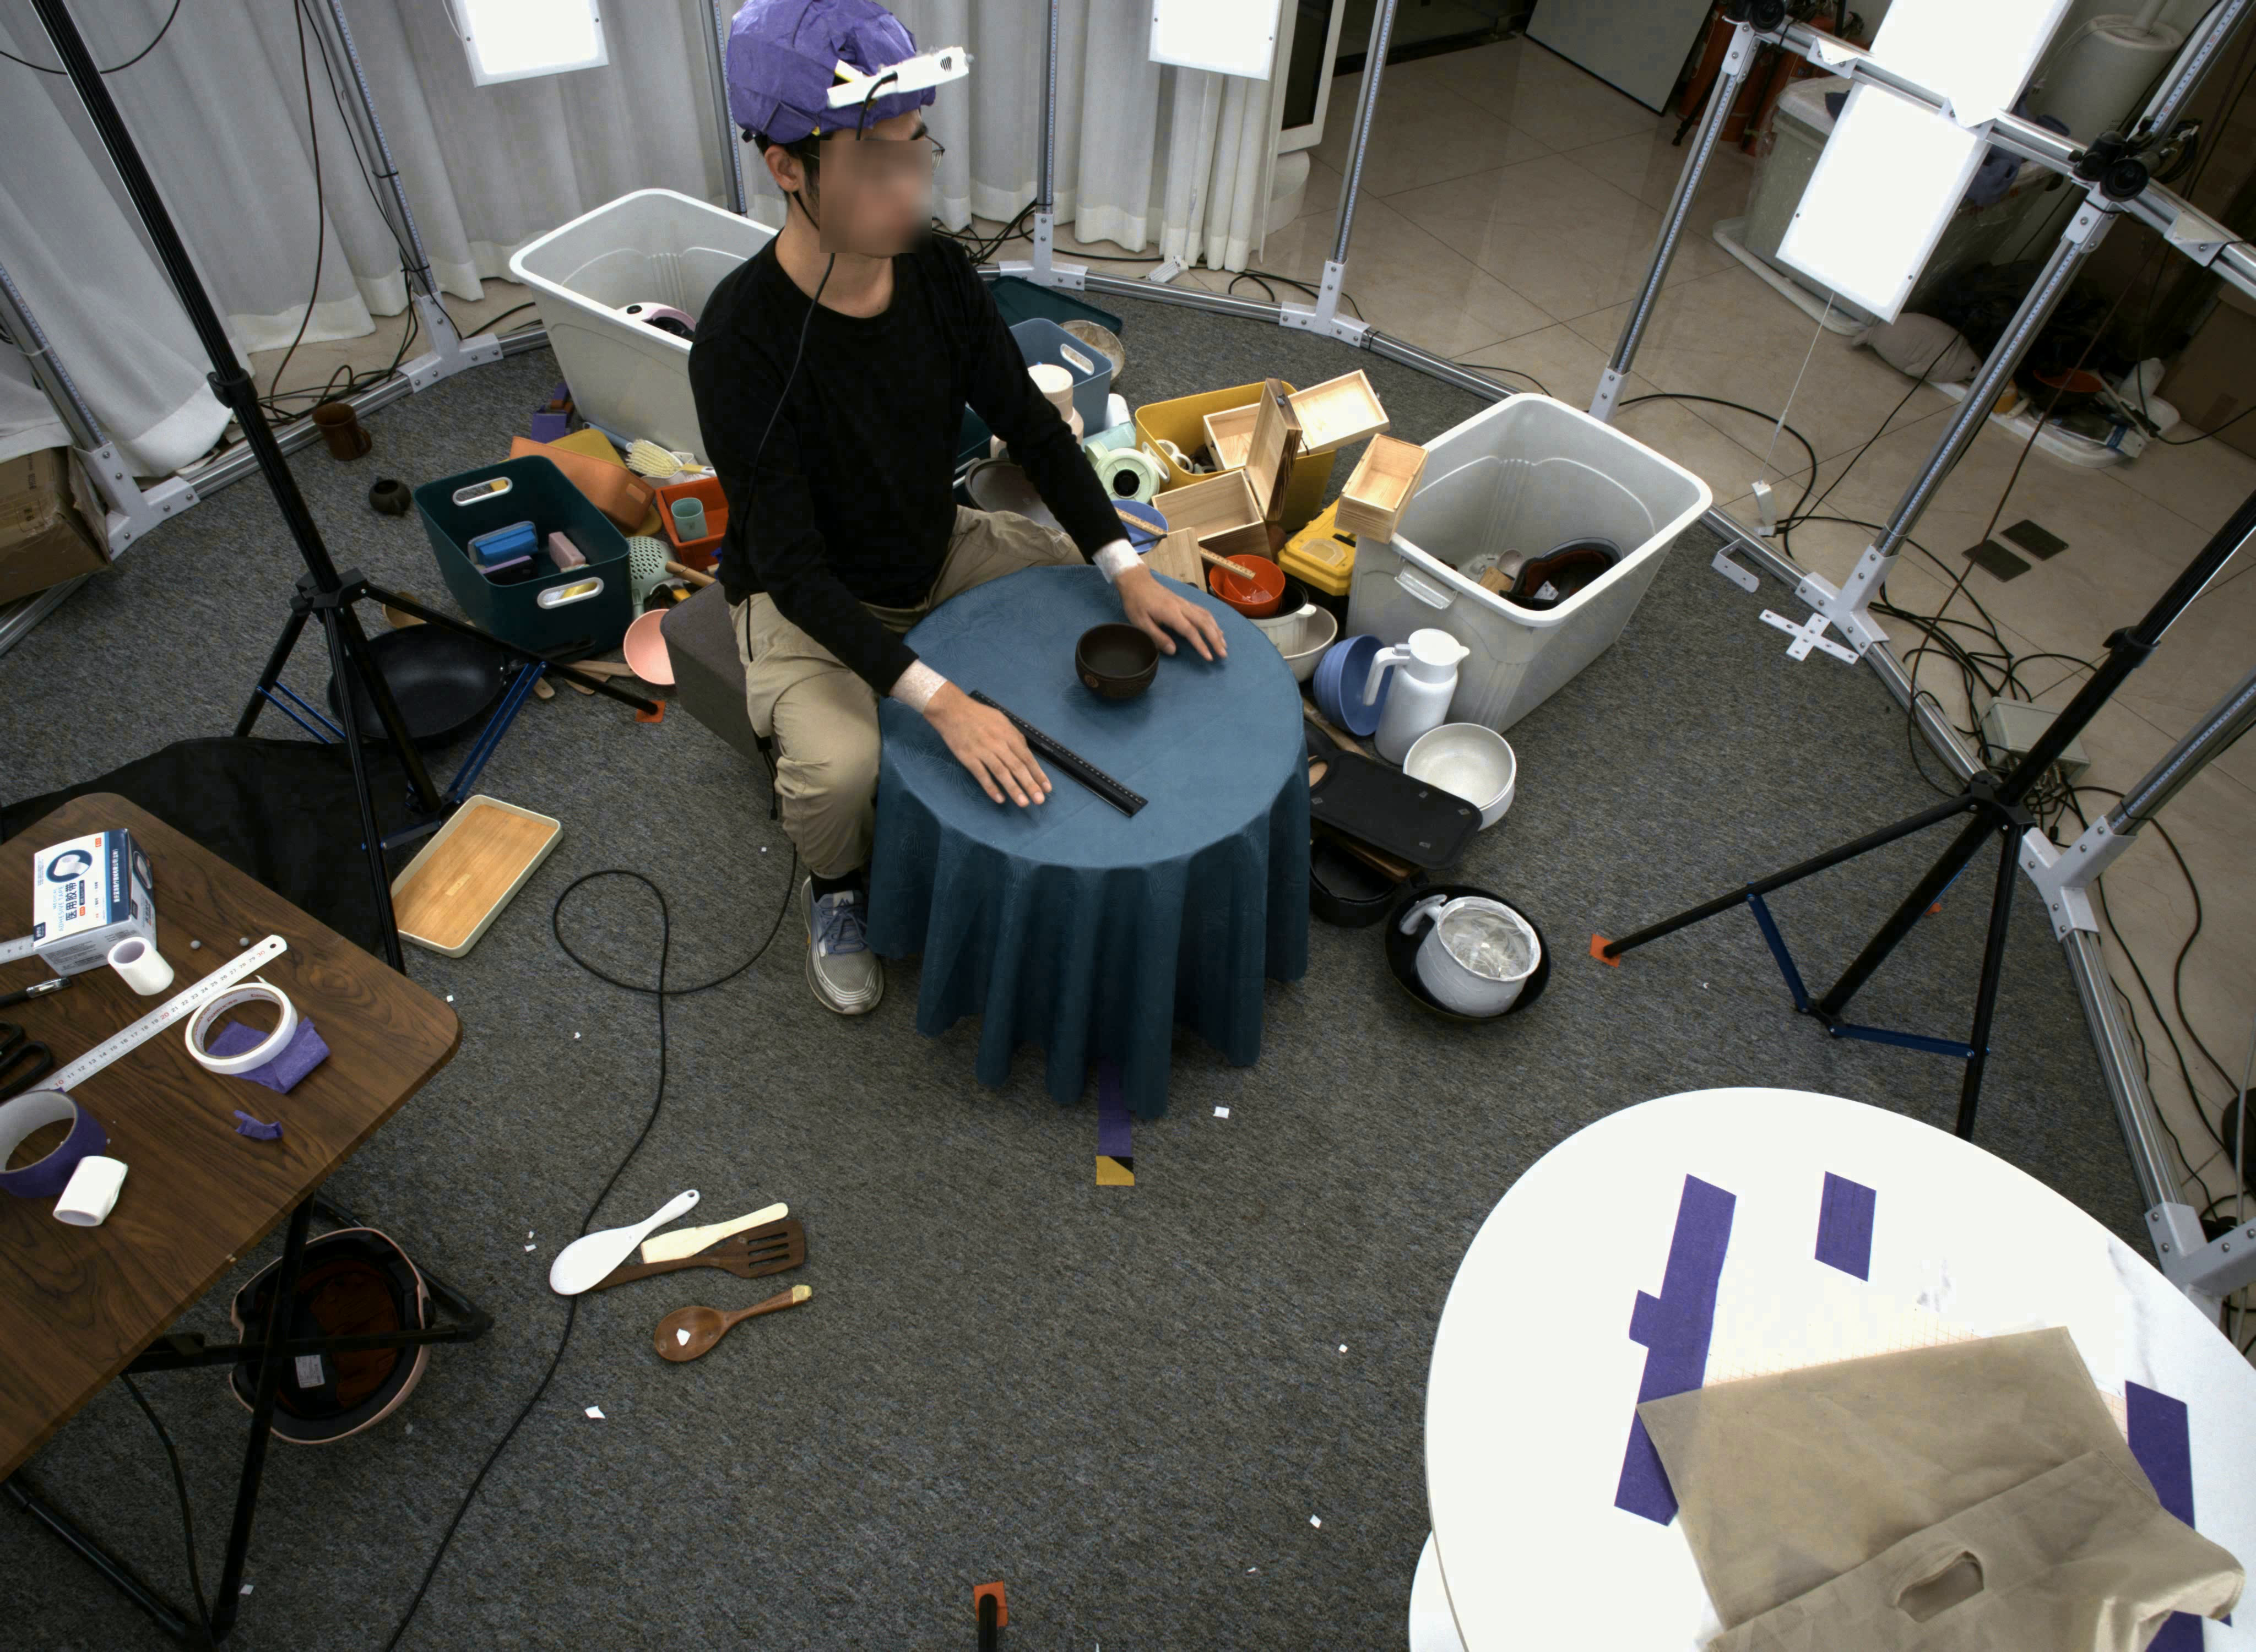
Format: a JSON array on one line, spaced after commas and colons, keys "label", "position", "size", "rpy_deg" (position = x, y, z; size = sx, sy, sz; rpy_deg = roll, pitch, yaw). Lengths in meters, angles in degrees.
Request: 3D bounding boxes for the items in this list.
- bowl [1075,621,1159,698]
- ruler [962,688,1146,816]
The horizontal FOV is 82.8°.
[{"label": "bowl", "position": [-0.017, -0.228, 1.819], "size": [0.118, 0.068, 0.121], "rpy_deg": [2, 49, -3]}, {"label": "ruler", "position": [-0.103, -0.109, 1.747], "size": [0.316, 0.017, 0.040], "rpy_deg": [35, 51, 24]}]
